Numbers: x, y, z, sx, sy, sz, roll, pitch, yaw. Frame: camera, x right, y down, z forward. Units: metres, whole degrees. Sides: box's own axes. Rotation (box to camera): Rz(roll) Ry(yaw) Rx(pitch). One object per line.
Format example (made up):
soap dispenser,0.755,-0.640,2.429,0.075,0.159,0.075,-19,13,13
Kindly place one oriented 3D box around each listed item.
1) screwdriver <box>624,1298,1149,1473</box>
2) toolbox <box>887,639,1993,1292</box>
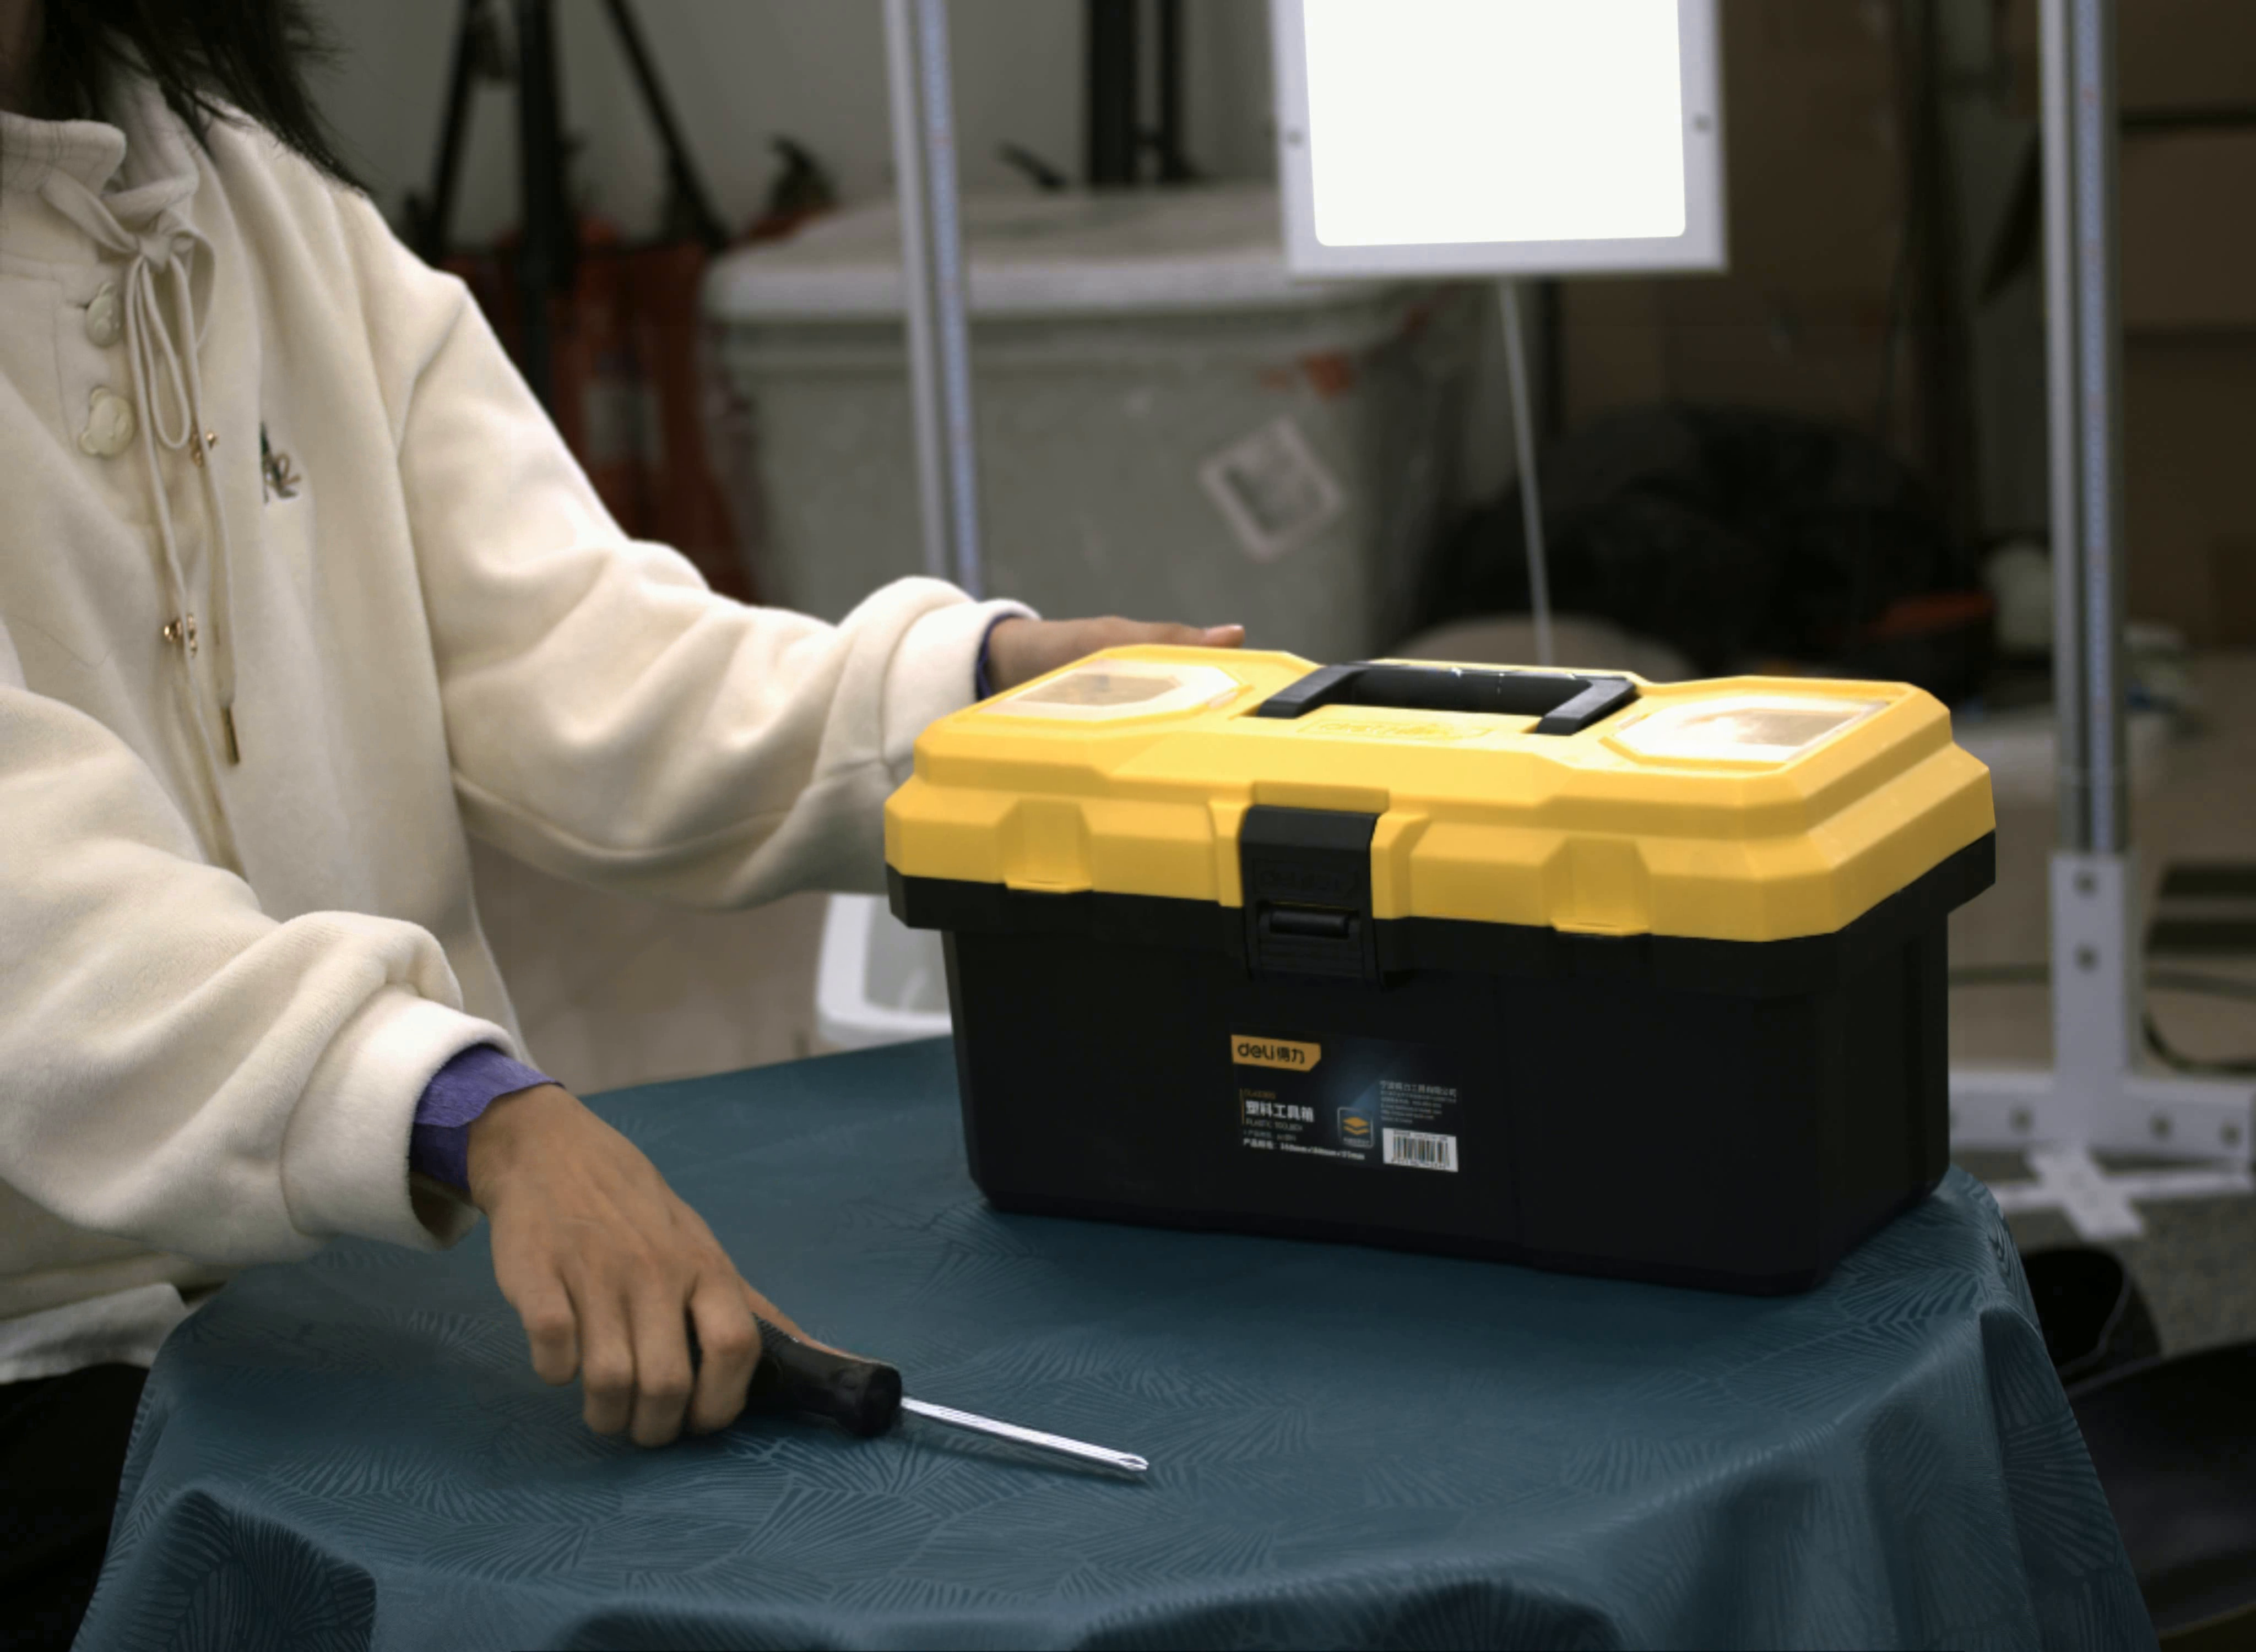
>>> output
screwdriver,-0.075,0.171,1.677,0.200,0.031,0.030,8,18,37
toolbox,0.103,0.042,1.840,0.358,0.173,0.177,4,16,33
